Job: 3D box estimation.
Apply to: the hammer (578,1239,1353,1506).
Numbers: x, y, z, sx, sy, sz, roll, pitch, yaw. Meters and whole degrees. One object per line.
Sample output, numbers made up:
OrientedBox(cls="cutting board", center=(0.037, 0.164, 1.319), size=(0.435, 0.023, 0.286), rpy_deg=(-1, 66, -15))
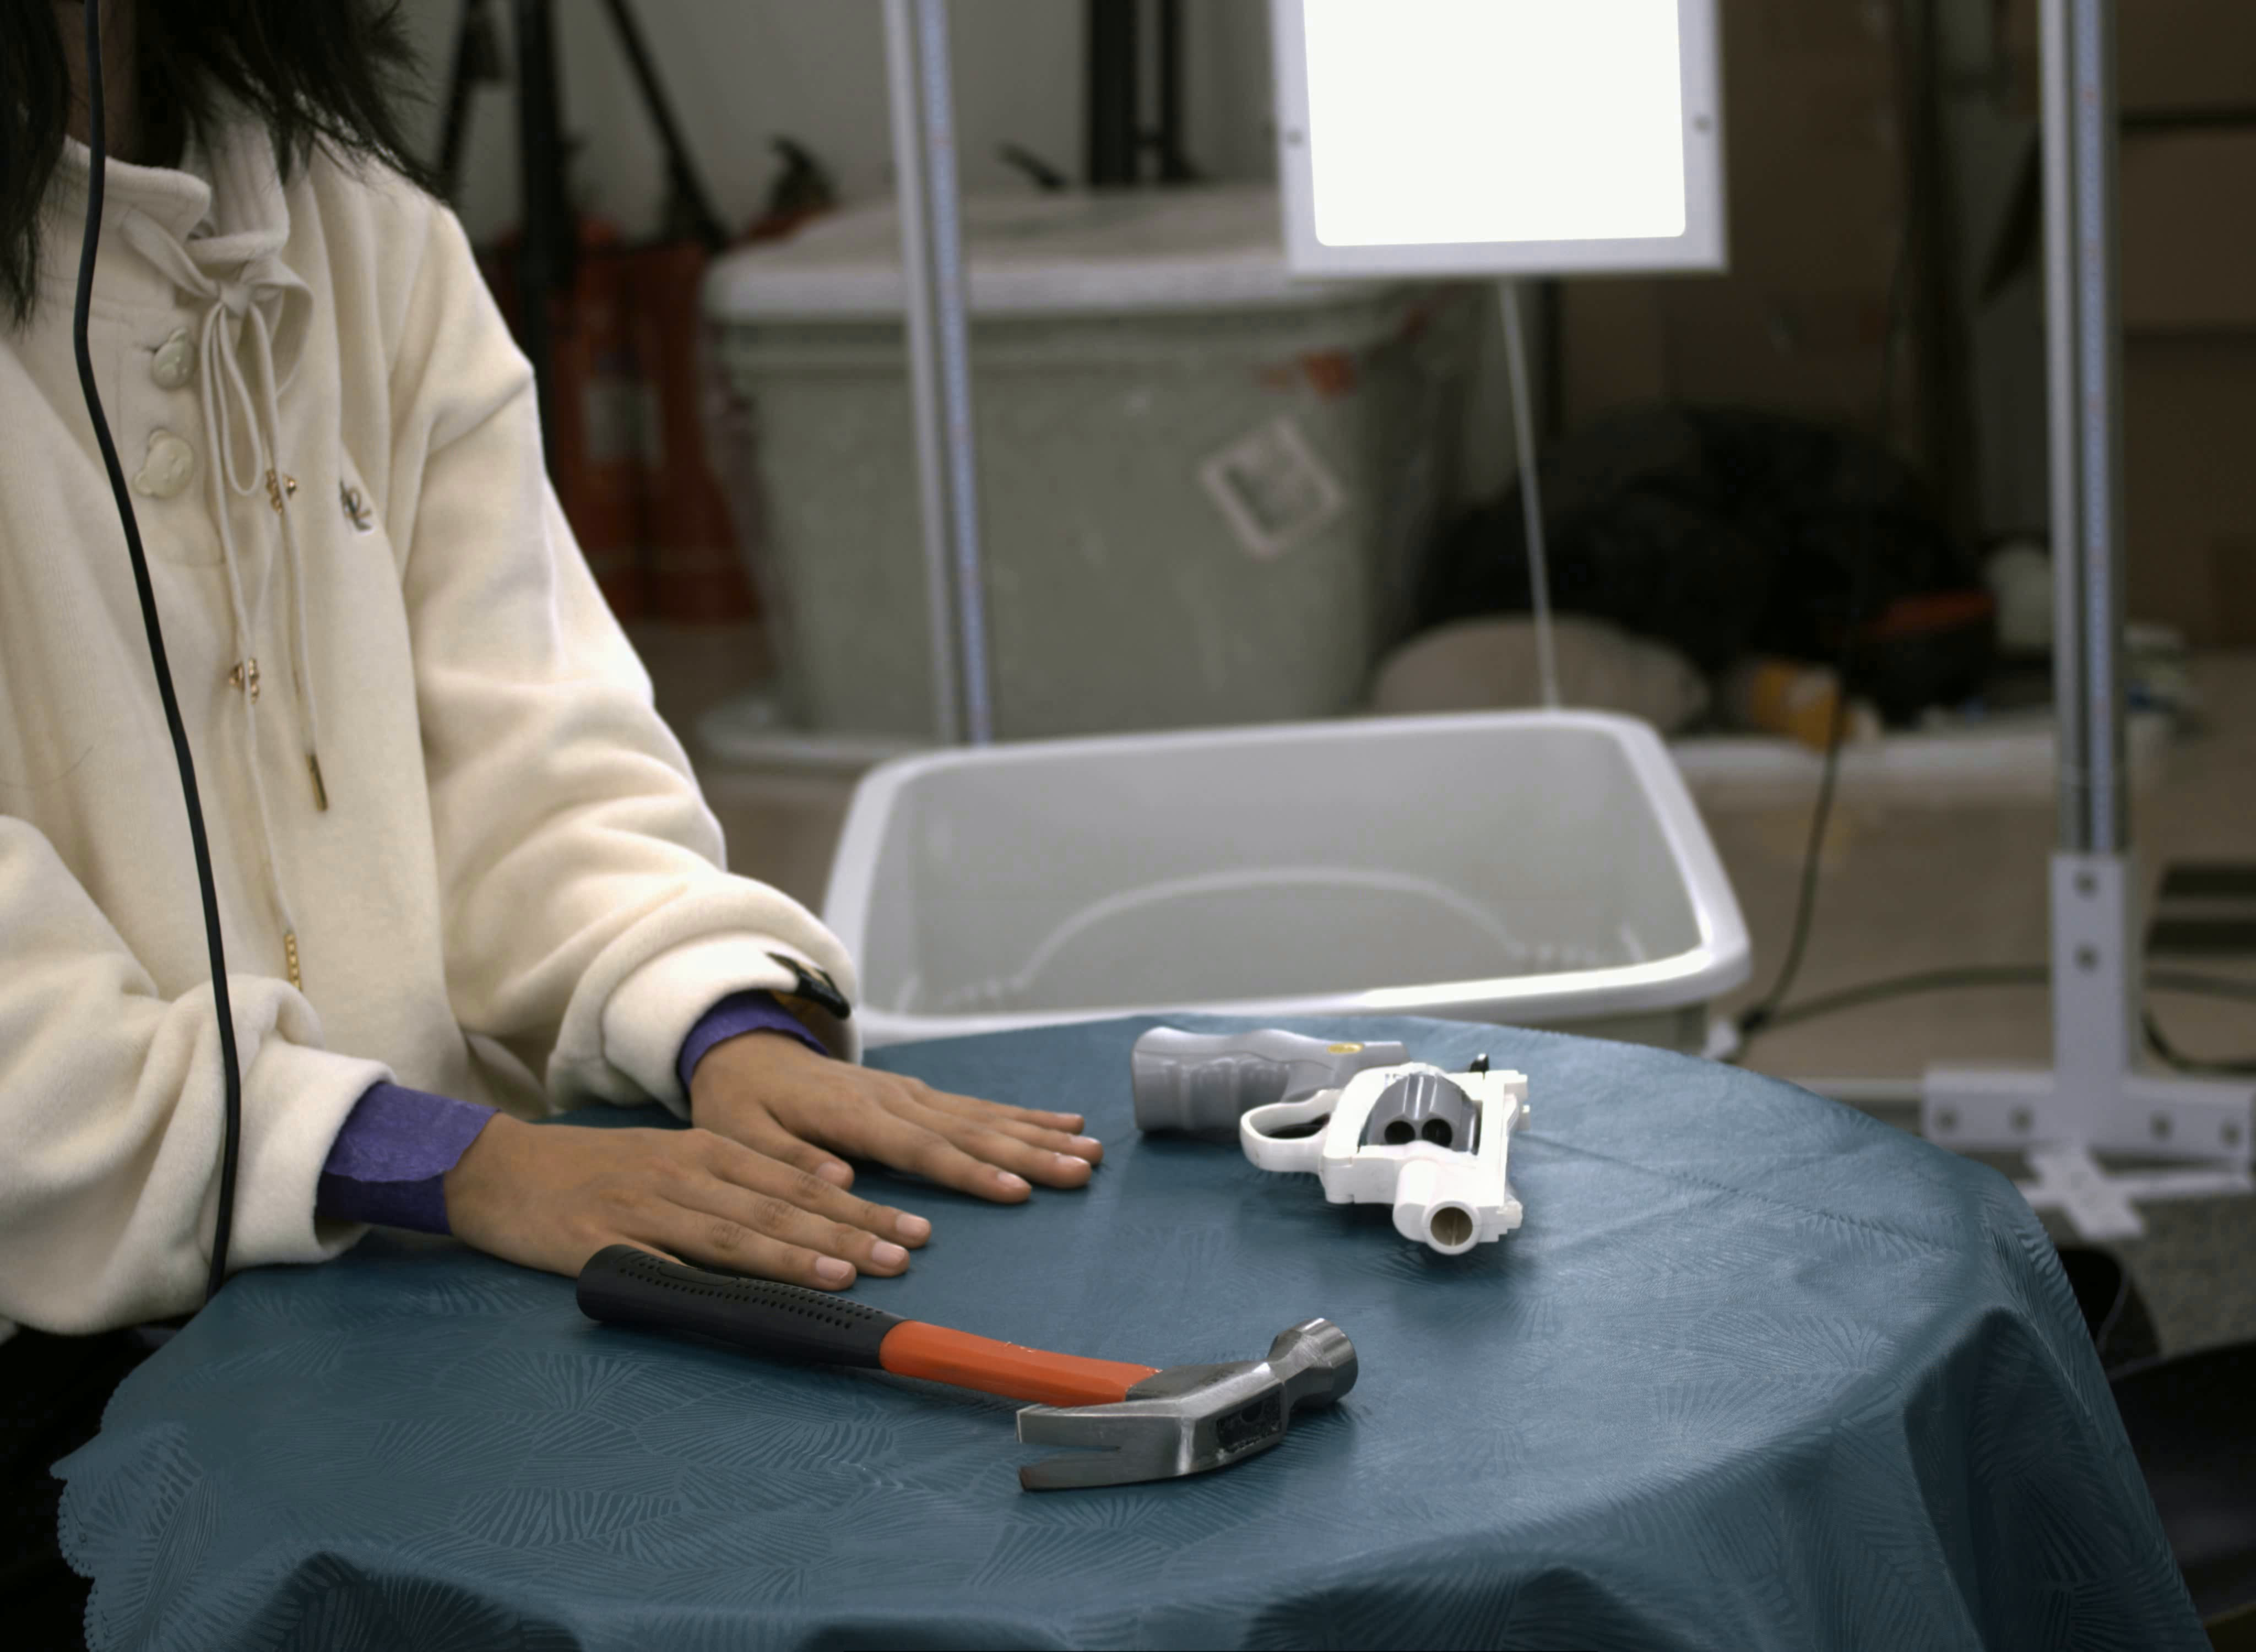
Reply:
OrientedBox(cls="hammer", center=(-0.068, 0.161, 1.722), size=(0.283, 0.026, 0.108), rpy_deg=(7, 27, 42))

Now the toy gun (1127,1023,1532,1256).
OrientedBox(cls="toy gun", center=(0.067, 0.105, 1.879), size=(0.142, 0.039, 0.208), rpy_deg=(-3, 14, 4))
